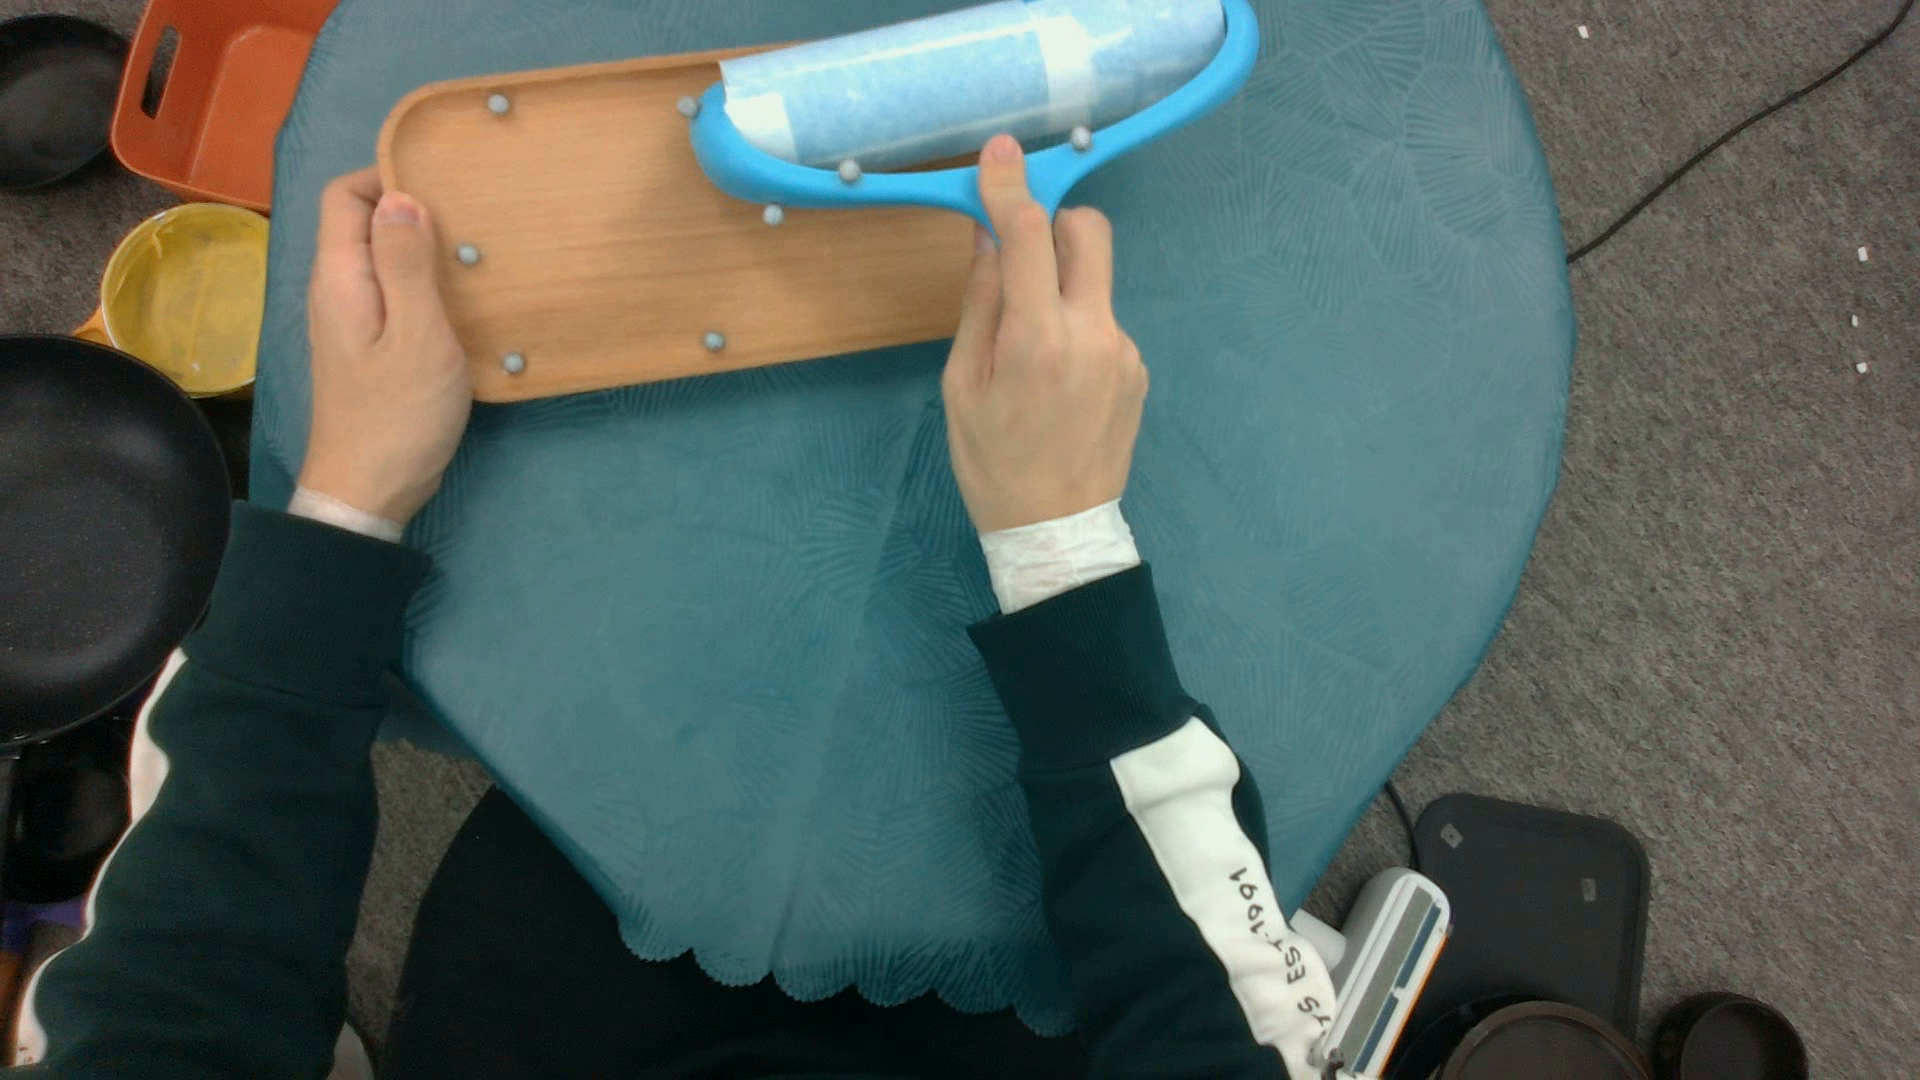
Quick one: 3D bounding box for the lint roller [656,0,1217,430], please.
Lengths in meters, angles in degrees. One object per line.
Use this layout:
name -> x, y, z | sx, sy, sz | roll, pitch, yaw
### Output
lint roller -> 0.010, -0.135, 0.545 | 0.229, 0.068, 0.180 | -18, 85, -7

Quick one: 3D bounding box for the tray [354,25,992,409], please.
tray -> -0.111, -0.136, 0.571 | 0.251, 0.023, 0.130 | -11, 102, -10
